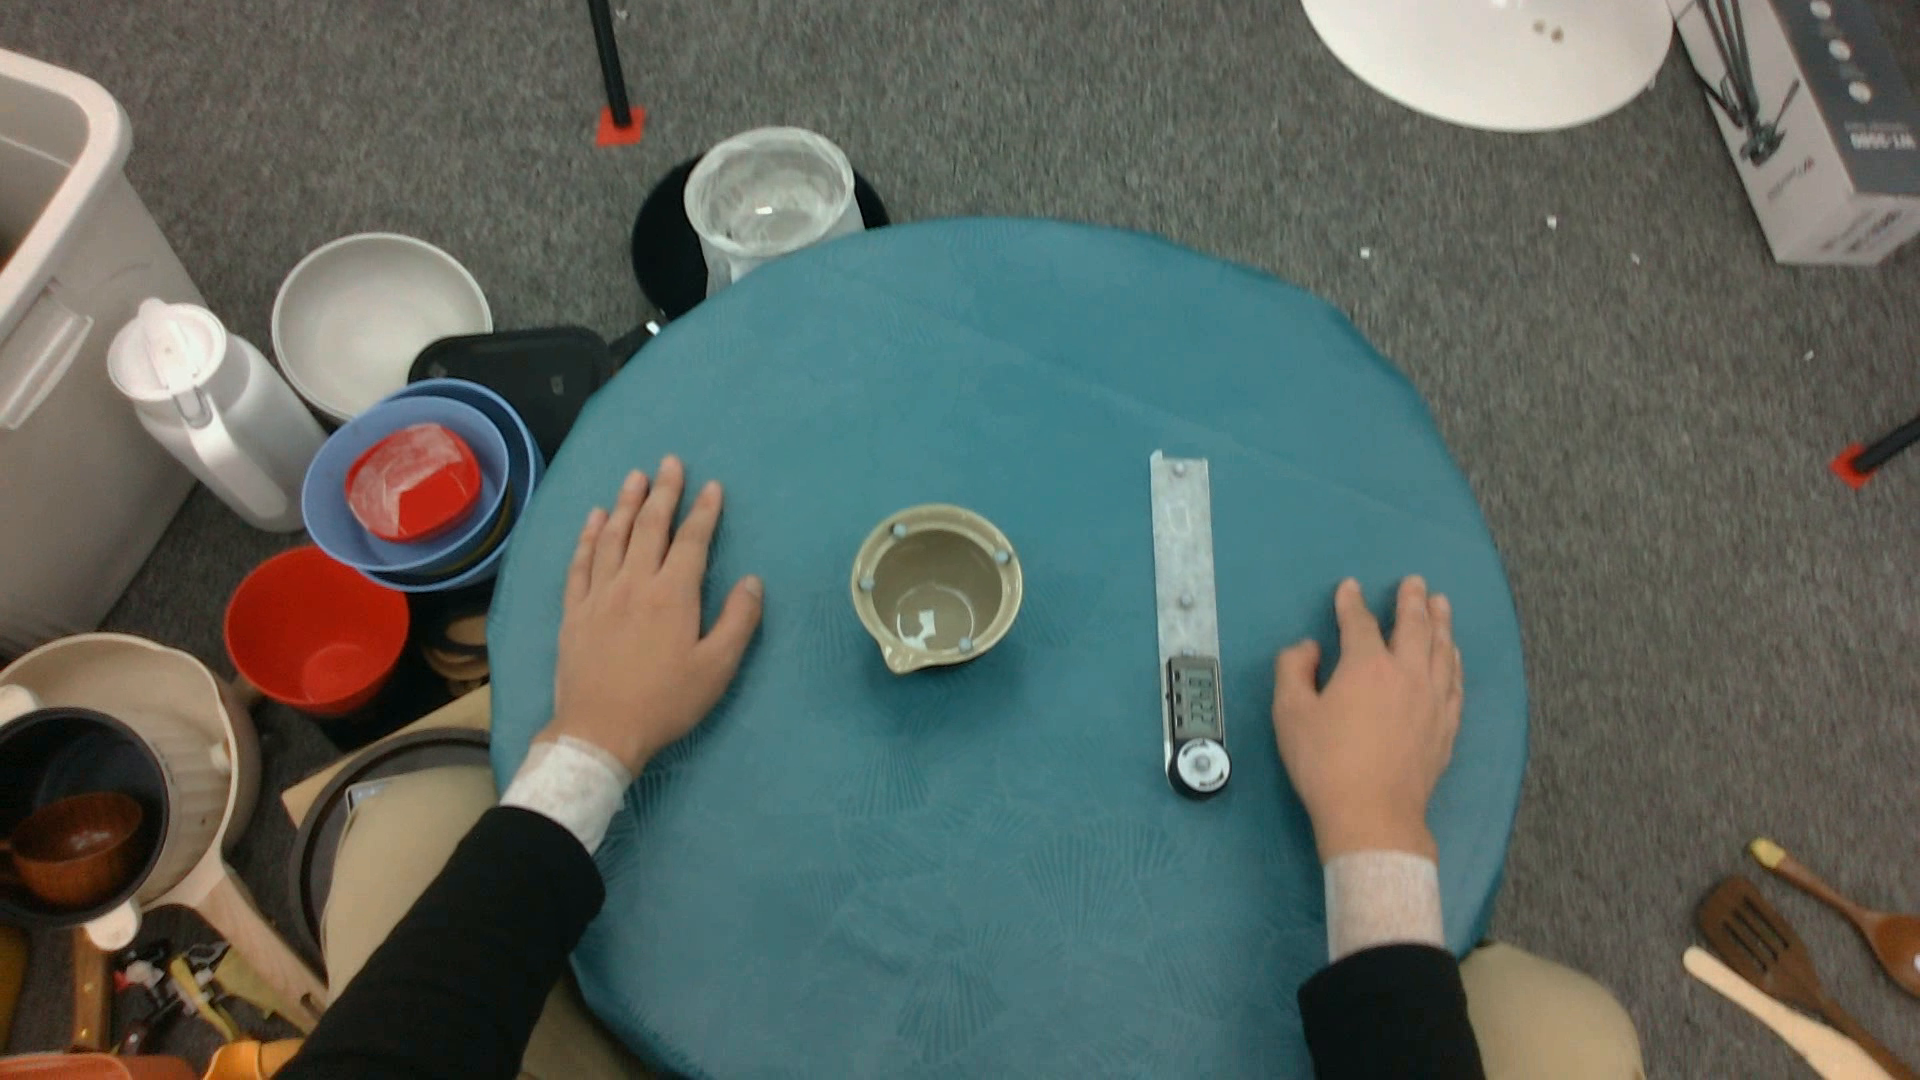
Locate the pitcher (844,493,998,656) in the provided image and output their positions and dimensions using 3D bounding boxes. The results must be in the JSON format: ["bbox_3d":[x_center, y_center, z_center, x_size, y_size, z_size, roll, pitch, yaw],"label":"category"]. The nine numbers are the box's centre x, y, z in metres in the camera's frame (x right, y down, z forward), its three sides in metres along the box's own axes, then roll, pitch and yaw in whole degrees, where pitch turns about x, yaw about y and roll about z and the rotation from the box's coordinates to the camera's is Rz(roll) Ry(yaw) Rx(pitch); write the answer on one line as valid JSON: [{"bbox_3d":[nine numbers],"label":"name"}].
[{"bbox_3d":[-0.025,0.029,0.764,0.083,0.071,0.096,23,67,5],"label":"pitcher"}]

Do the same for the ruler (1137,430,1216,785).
[{"bbox_3d":[0.126,0.032,0.800,0.038,0.024,0.219,4,68,-8],"label":"ruler"}]
